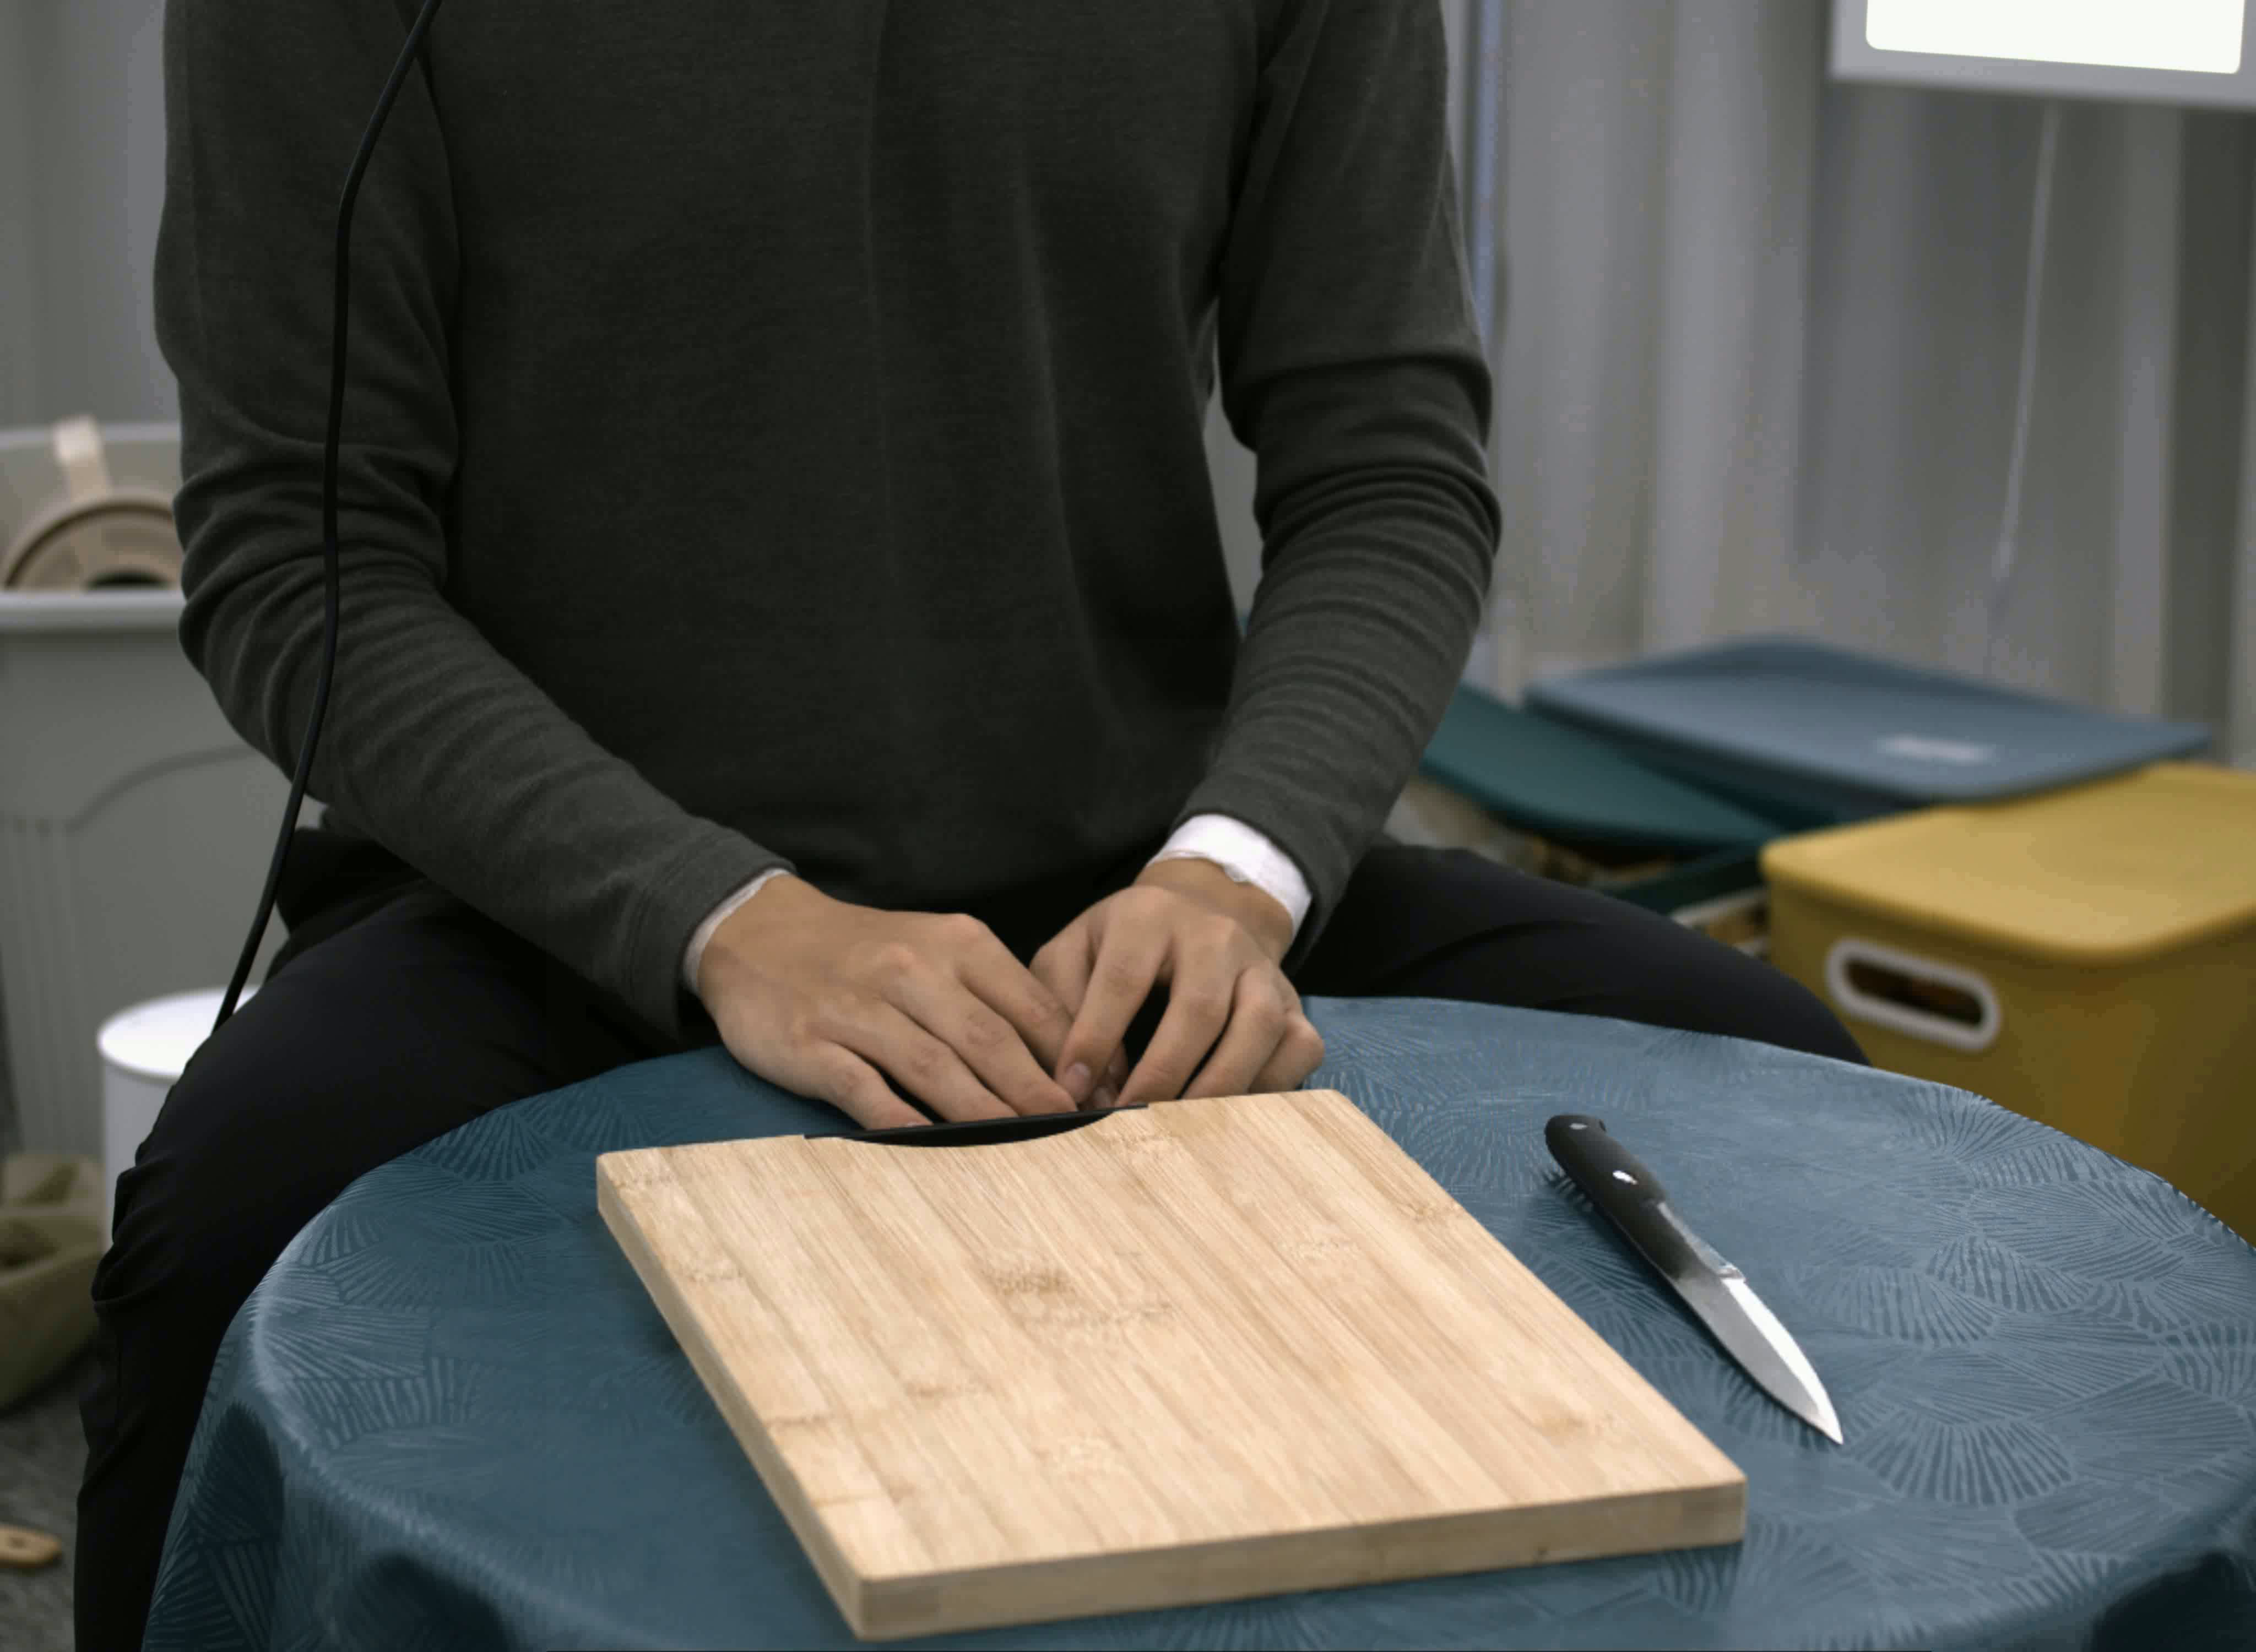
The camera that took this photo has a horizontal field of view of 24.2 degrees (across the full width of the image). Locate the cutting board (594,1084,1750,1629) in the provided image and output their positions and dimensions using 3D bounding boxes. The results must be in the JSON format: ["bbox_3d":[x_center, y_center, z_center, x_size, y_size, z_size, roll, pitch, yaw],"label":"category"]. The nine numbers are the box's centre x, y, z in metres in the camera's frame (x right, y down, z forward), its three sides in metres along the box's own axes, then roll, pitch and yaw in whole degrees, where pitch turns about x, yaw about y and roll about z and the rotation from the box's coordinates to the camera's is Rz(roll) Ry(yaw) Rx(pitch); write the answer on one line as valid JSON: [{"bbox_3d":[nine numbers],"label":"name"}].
[{"bbox_3d":[-0.001,0.142,1.488,0.251,0.024,0.345,-4,16,-17],"label":"cutting board"}]

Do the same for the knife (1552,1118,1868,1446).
[{"bbox_3d":[0.167,0.132,1.538,0.024,0.016,0.235,-5,19,-14],"label":"knife"}]
